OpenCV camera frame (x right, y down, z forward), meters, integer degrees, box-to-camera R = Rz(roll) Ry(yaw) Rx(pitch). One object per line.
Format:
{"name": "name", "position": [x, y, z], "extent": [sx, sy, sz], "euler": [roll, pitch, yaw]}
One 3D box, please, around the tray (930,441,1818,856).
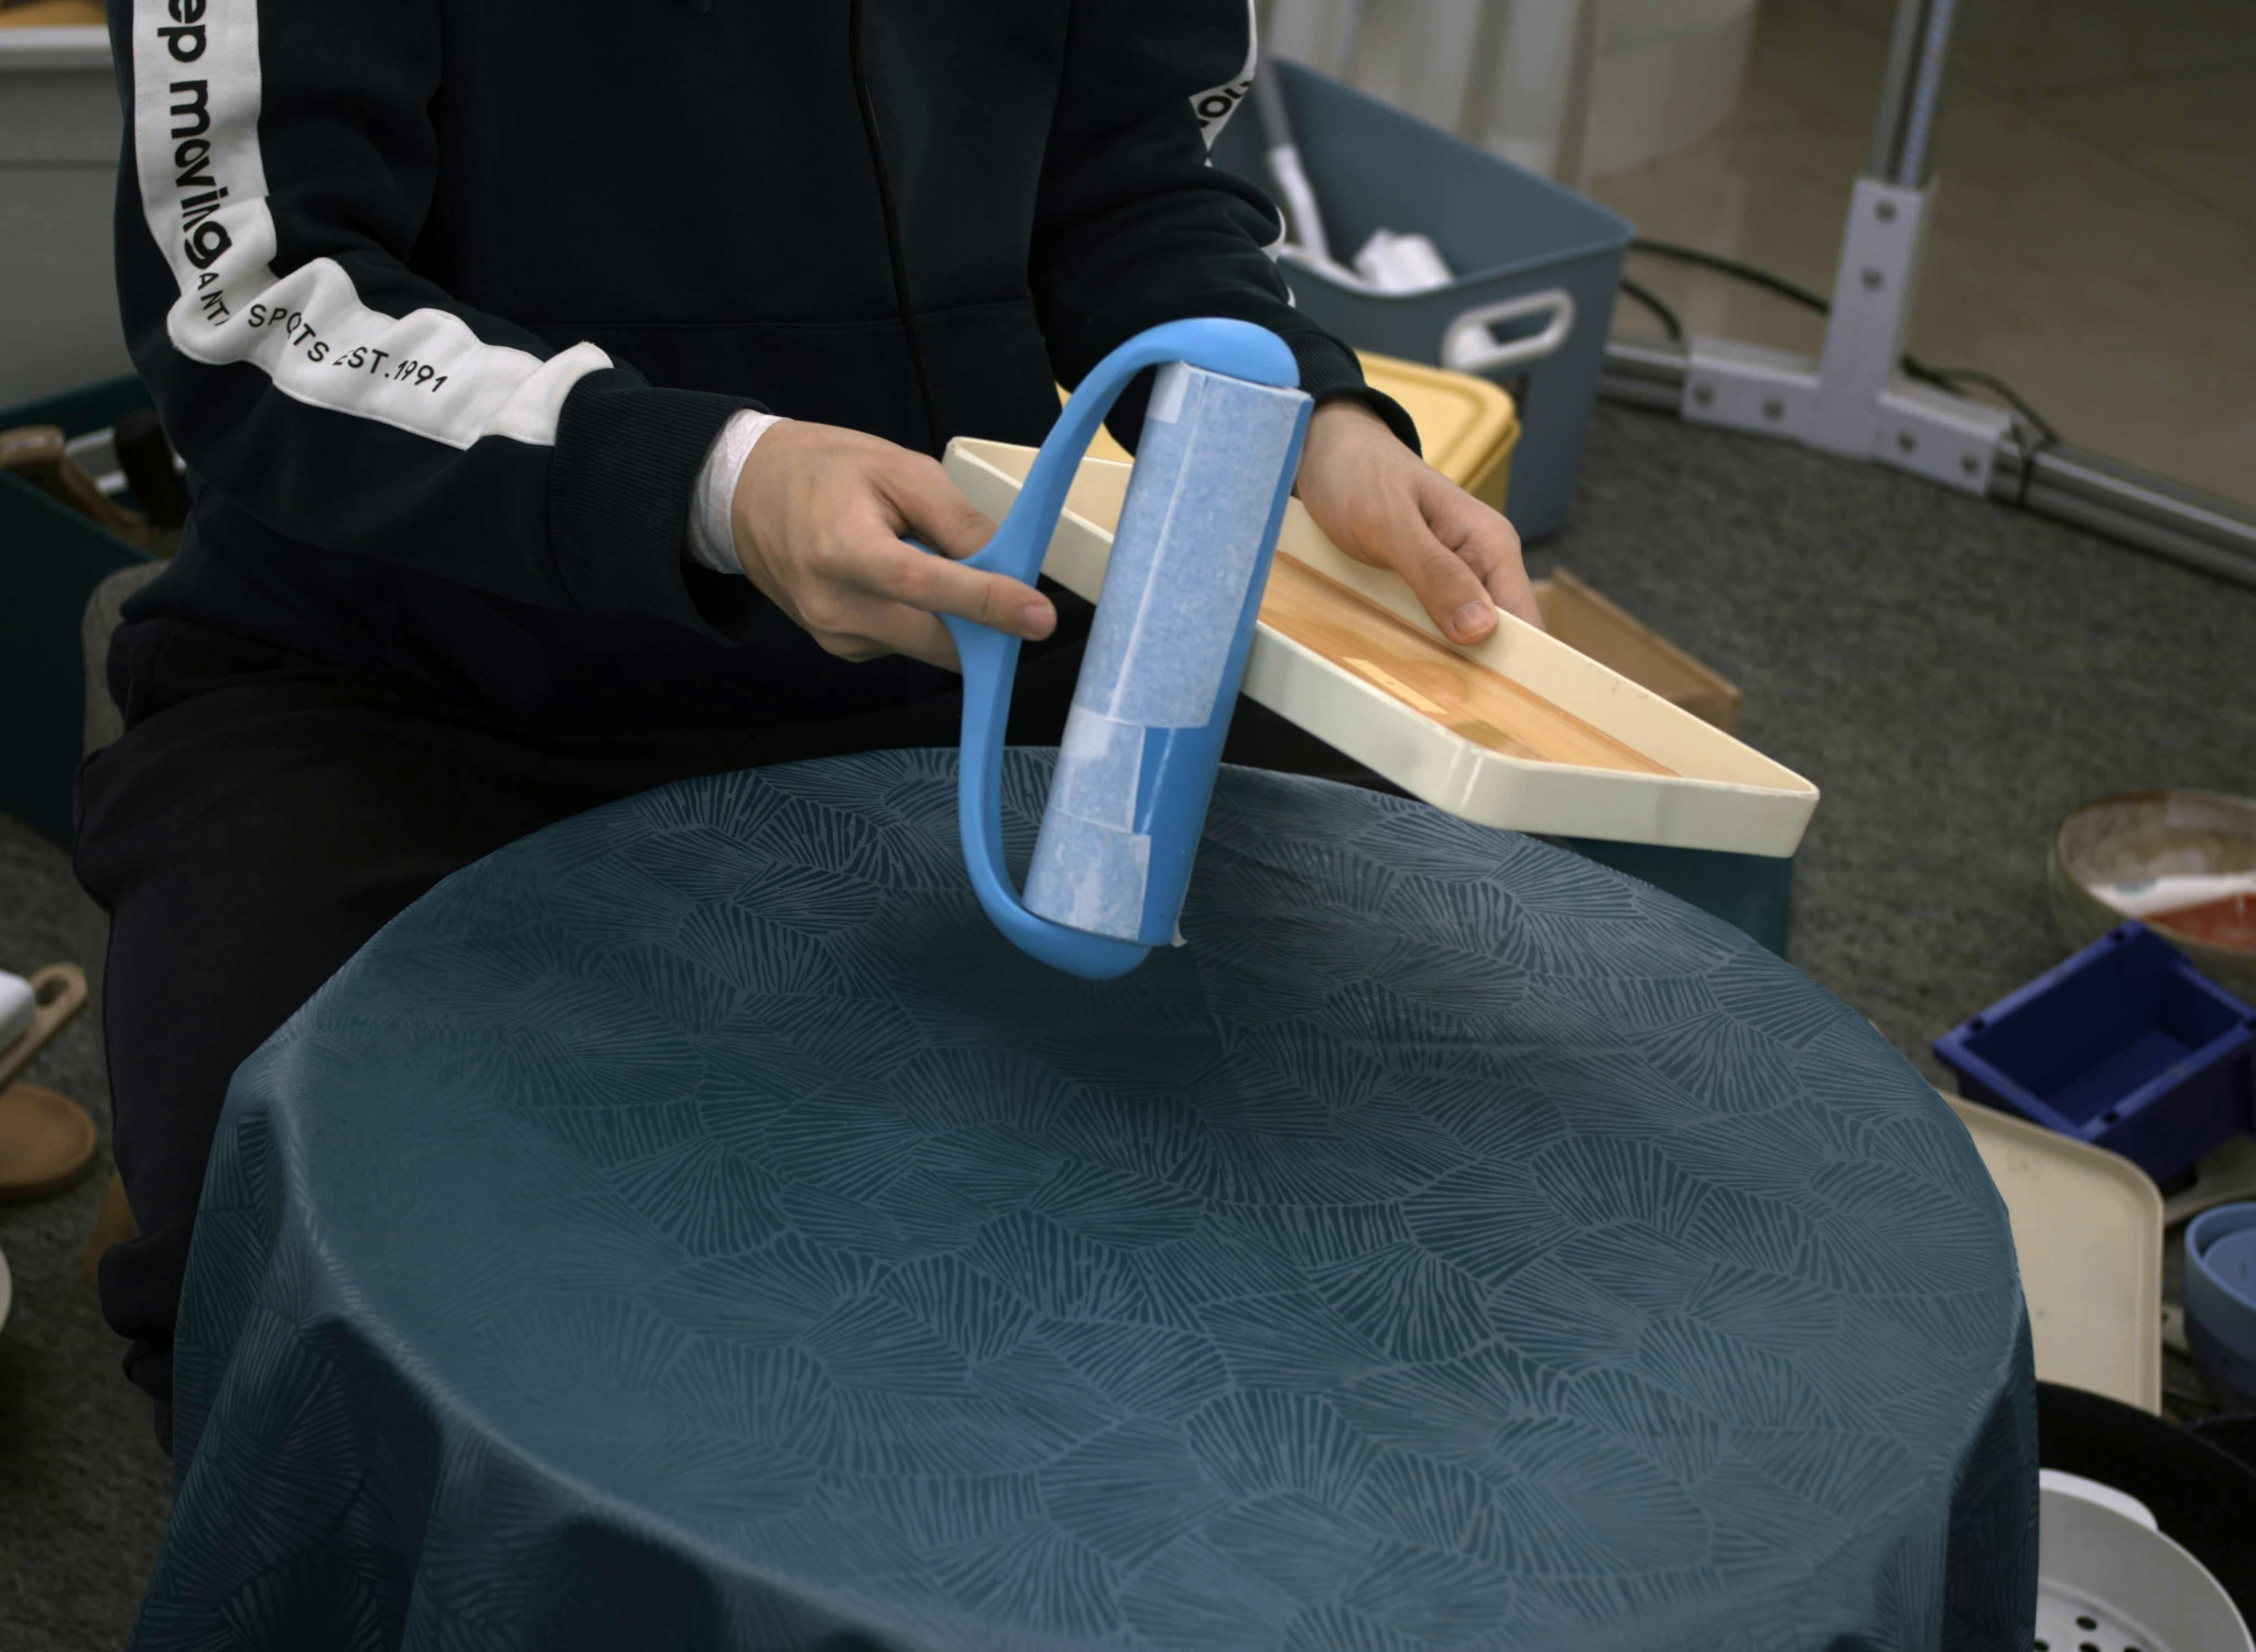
{"name": "tray", "position": [0.084, -0.064, 1.892], "extent": [0.190, 0.027, 0.303], "euler": [6, 19, -45]}

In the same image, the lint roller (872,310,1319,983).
{"name": "lint roller", "position": [-0.032, -0.072, 1.819], "extent": [0.181, 0.229, 0.067], "euler": [14, 7, 34]}
